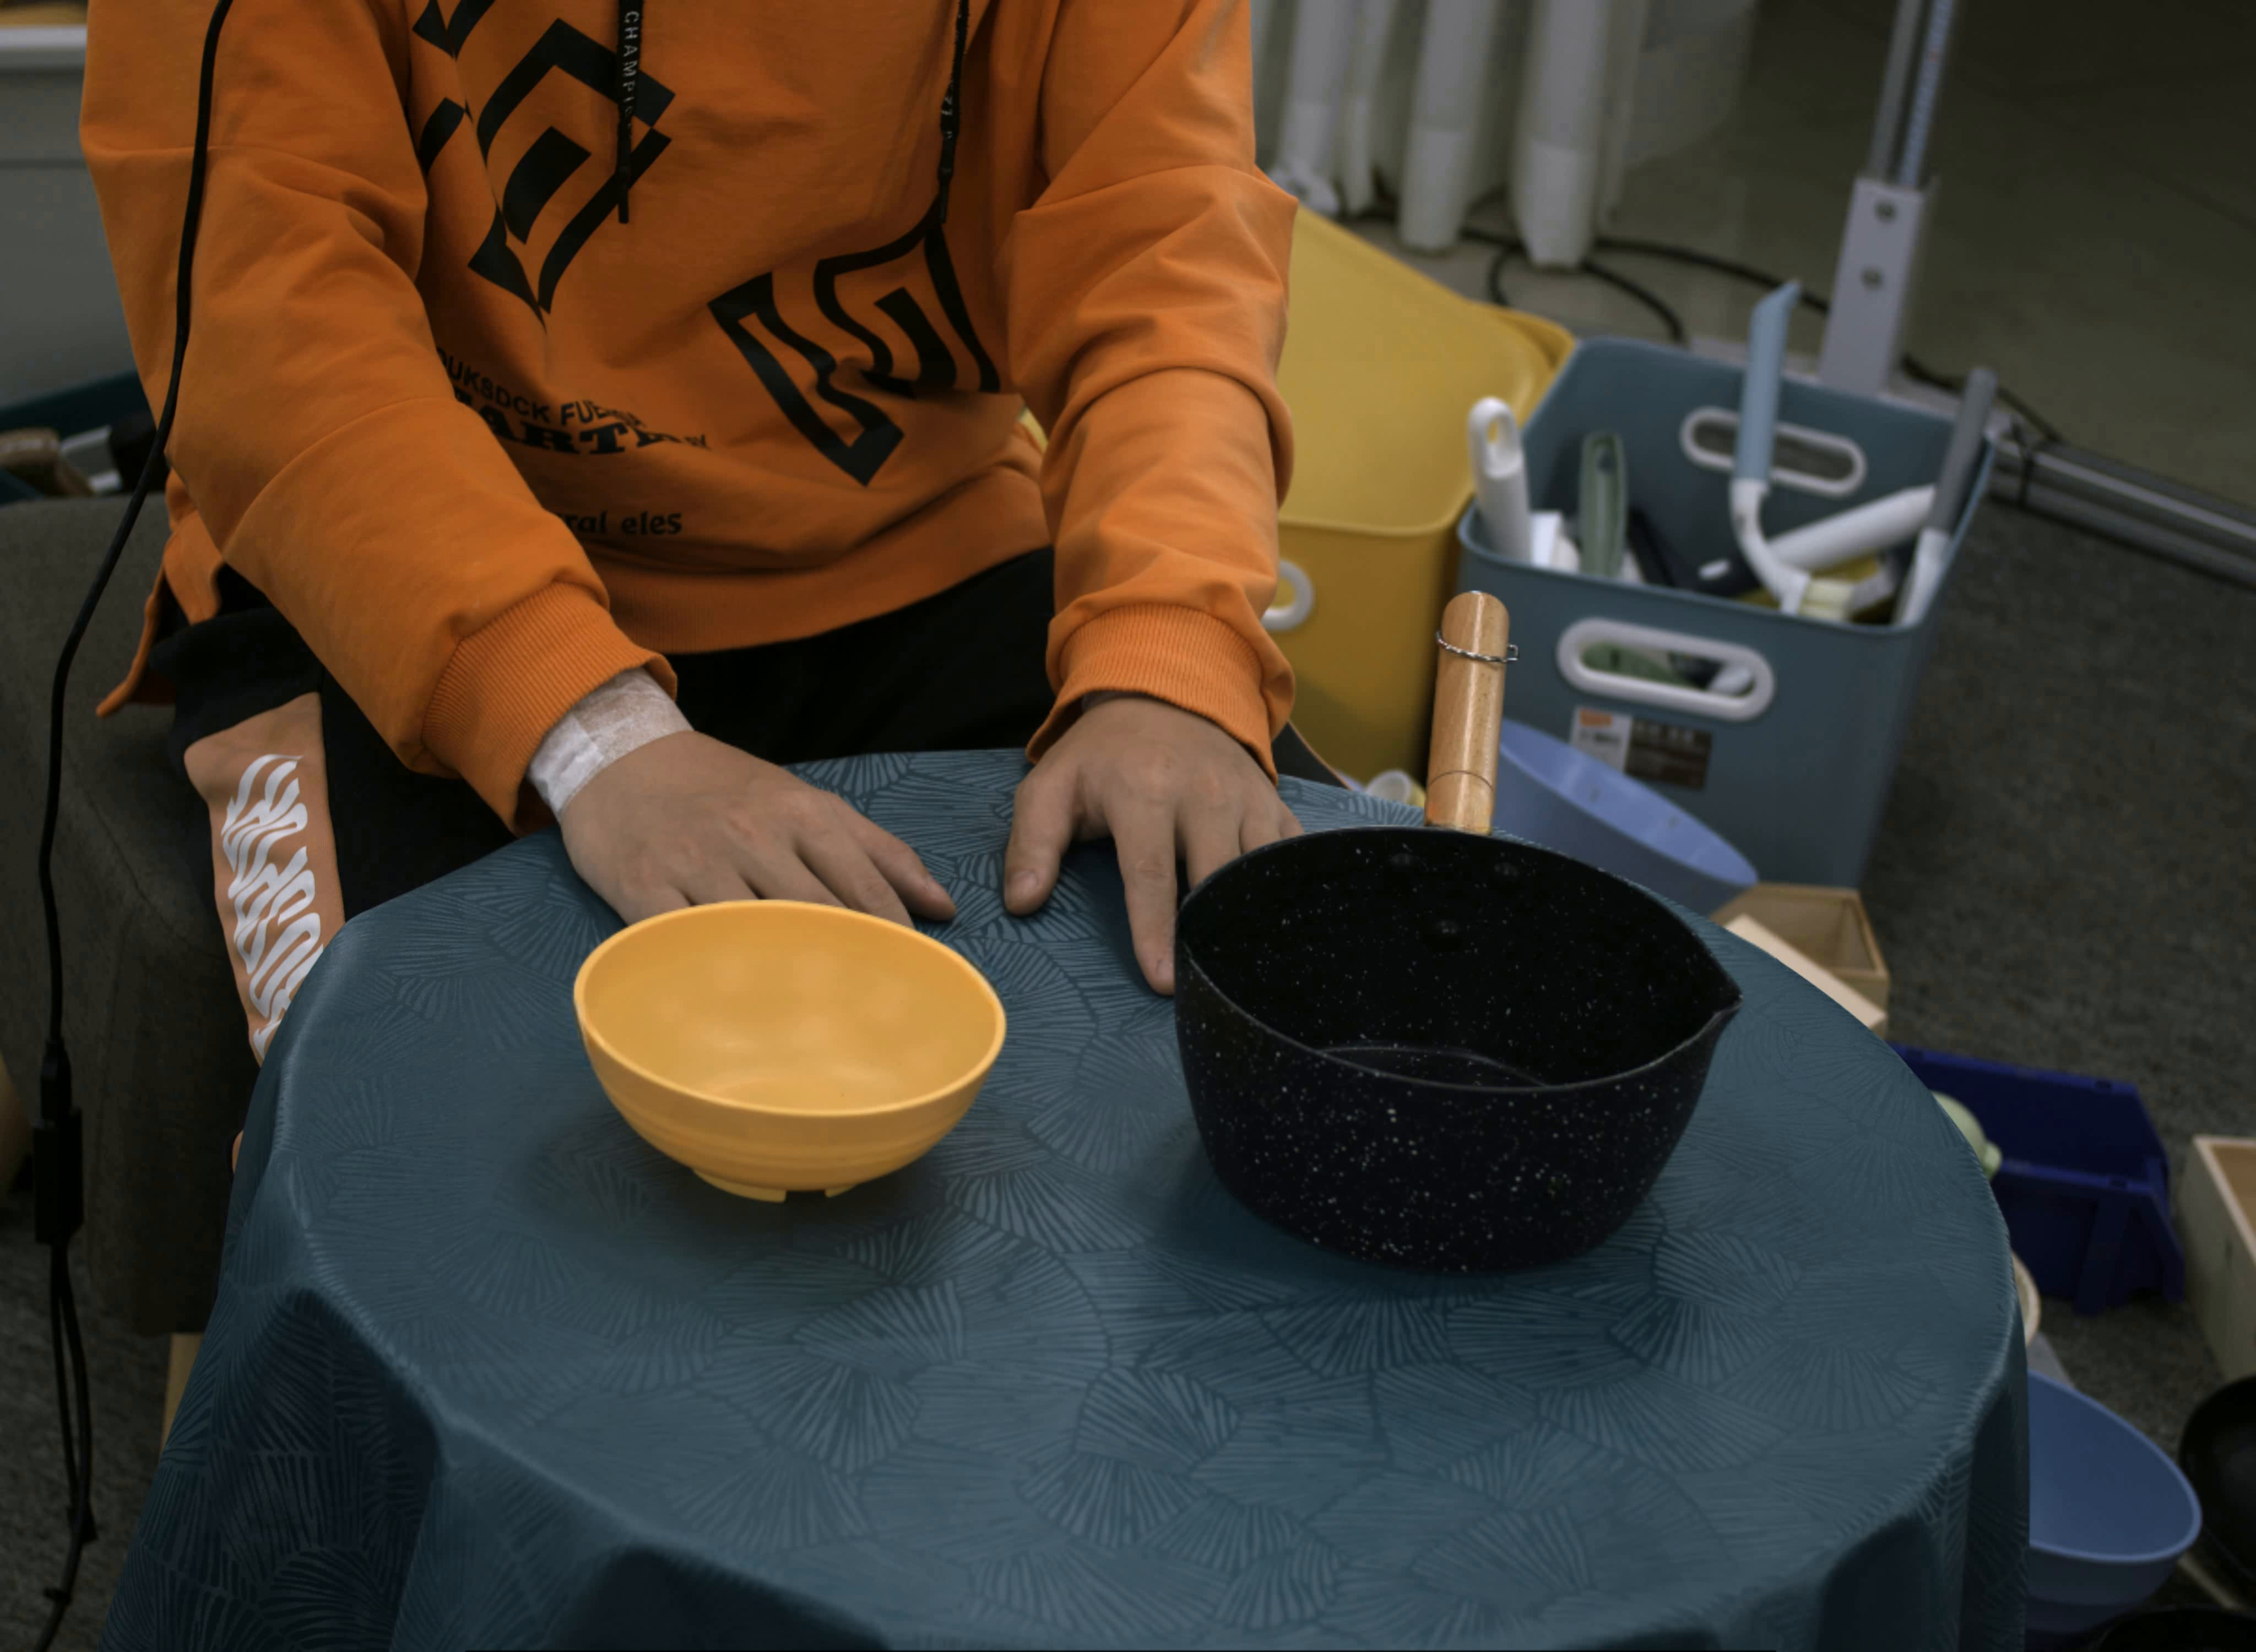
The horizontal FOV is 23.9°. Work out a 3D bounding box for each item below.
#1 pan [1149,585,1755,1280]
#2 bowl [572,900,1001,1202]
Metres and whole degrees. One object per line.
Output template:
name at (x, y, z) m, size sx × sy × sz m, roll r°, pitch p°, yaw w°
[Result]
pan at (0.112, 0.033, 1.886) m, size 0.207 × 0.108 × 0.344 m, roll 6°, pitch 28°, yaw 2°
bowl at (-0.117, 0.084, 1.789) m, size 0.145 × 0.060 × 0.146 m, roll 6°, pitch 26°, yaw -3°
